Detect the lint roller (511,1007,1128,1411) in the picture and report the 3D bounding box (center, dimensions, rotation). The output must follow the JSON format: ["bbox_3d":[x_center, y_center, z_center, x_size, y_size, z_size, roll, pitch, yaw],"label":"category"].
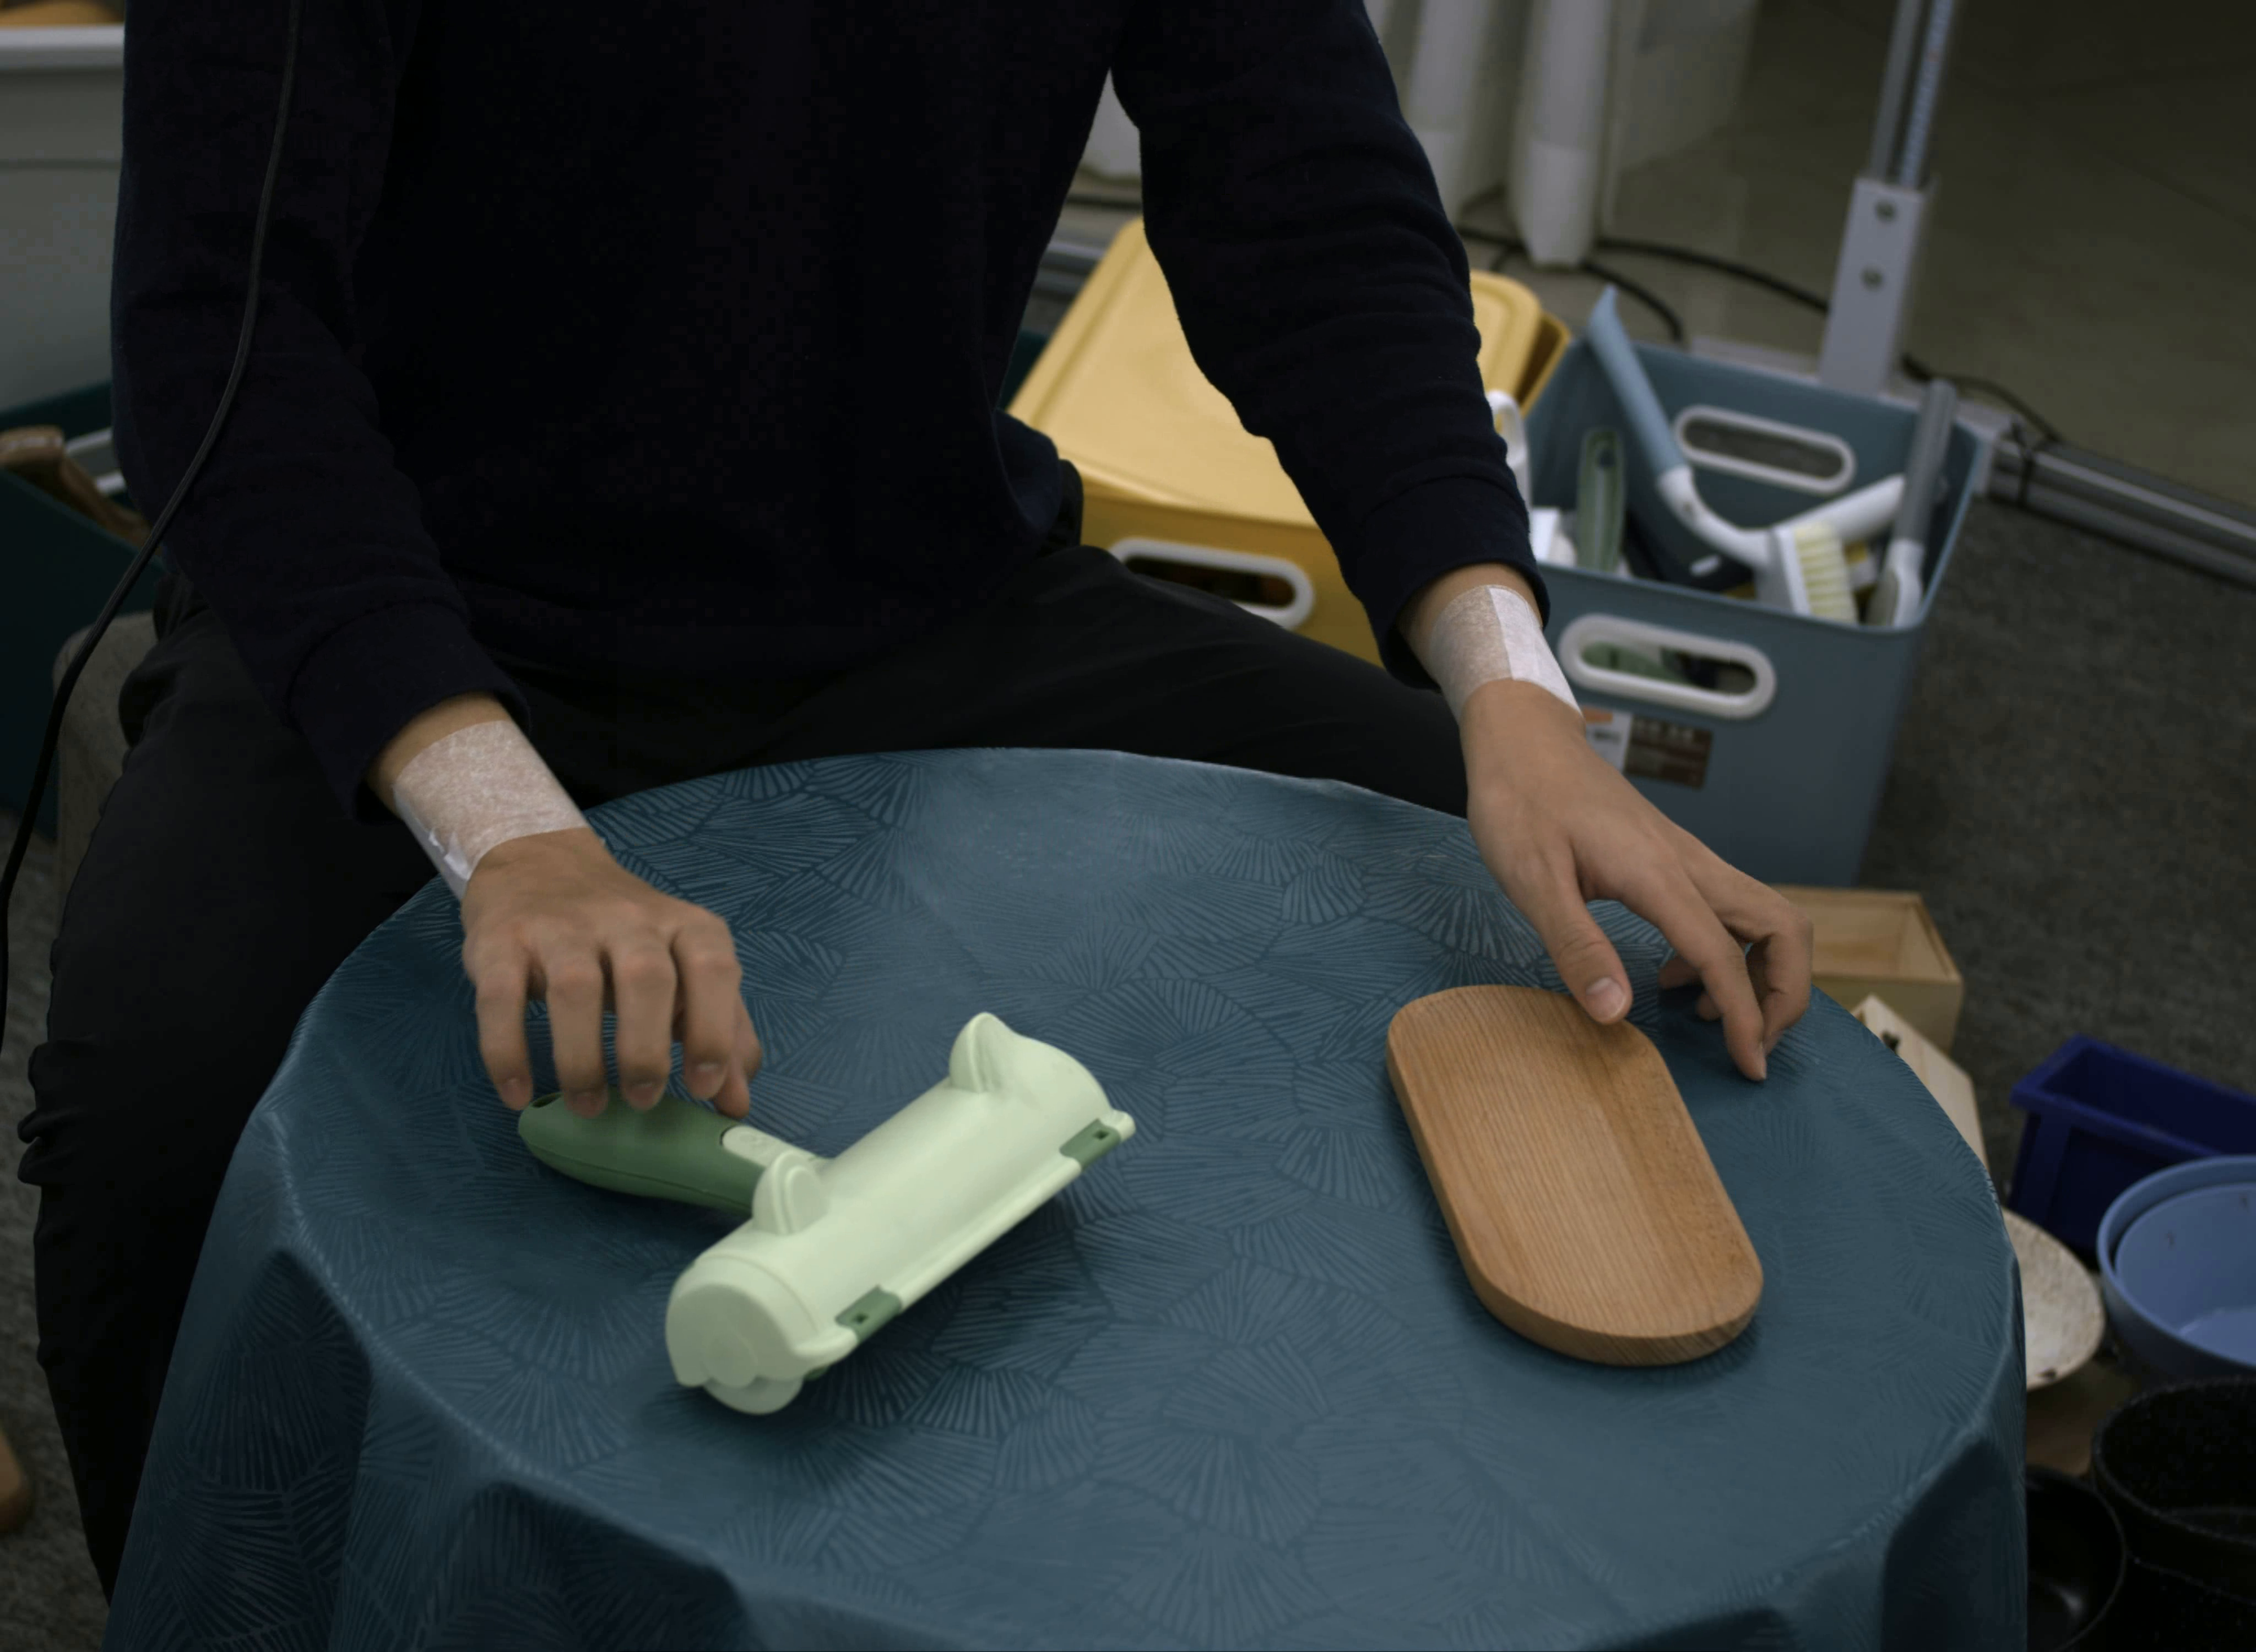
[{"bbox_3d":[-0.122,0.098,1.732,0.184,0.082,0.198,25,31,22],"label":"lint roller"}]

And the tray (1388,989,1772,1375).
[{"bbox_3d":[0.152,0.120,1.827,0.101,0.020,0.233,0,29,-10],"label":"tray"}]
